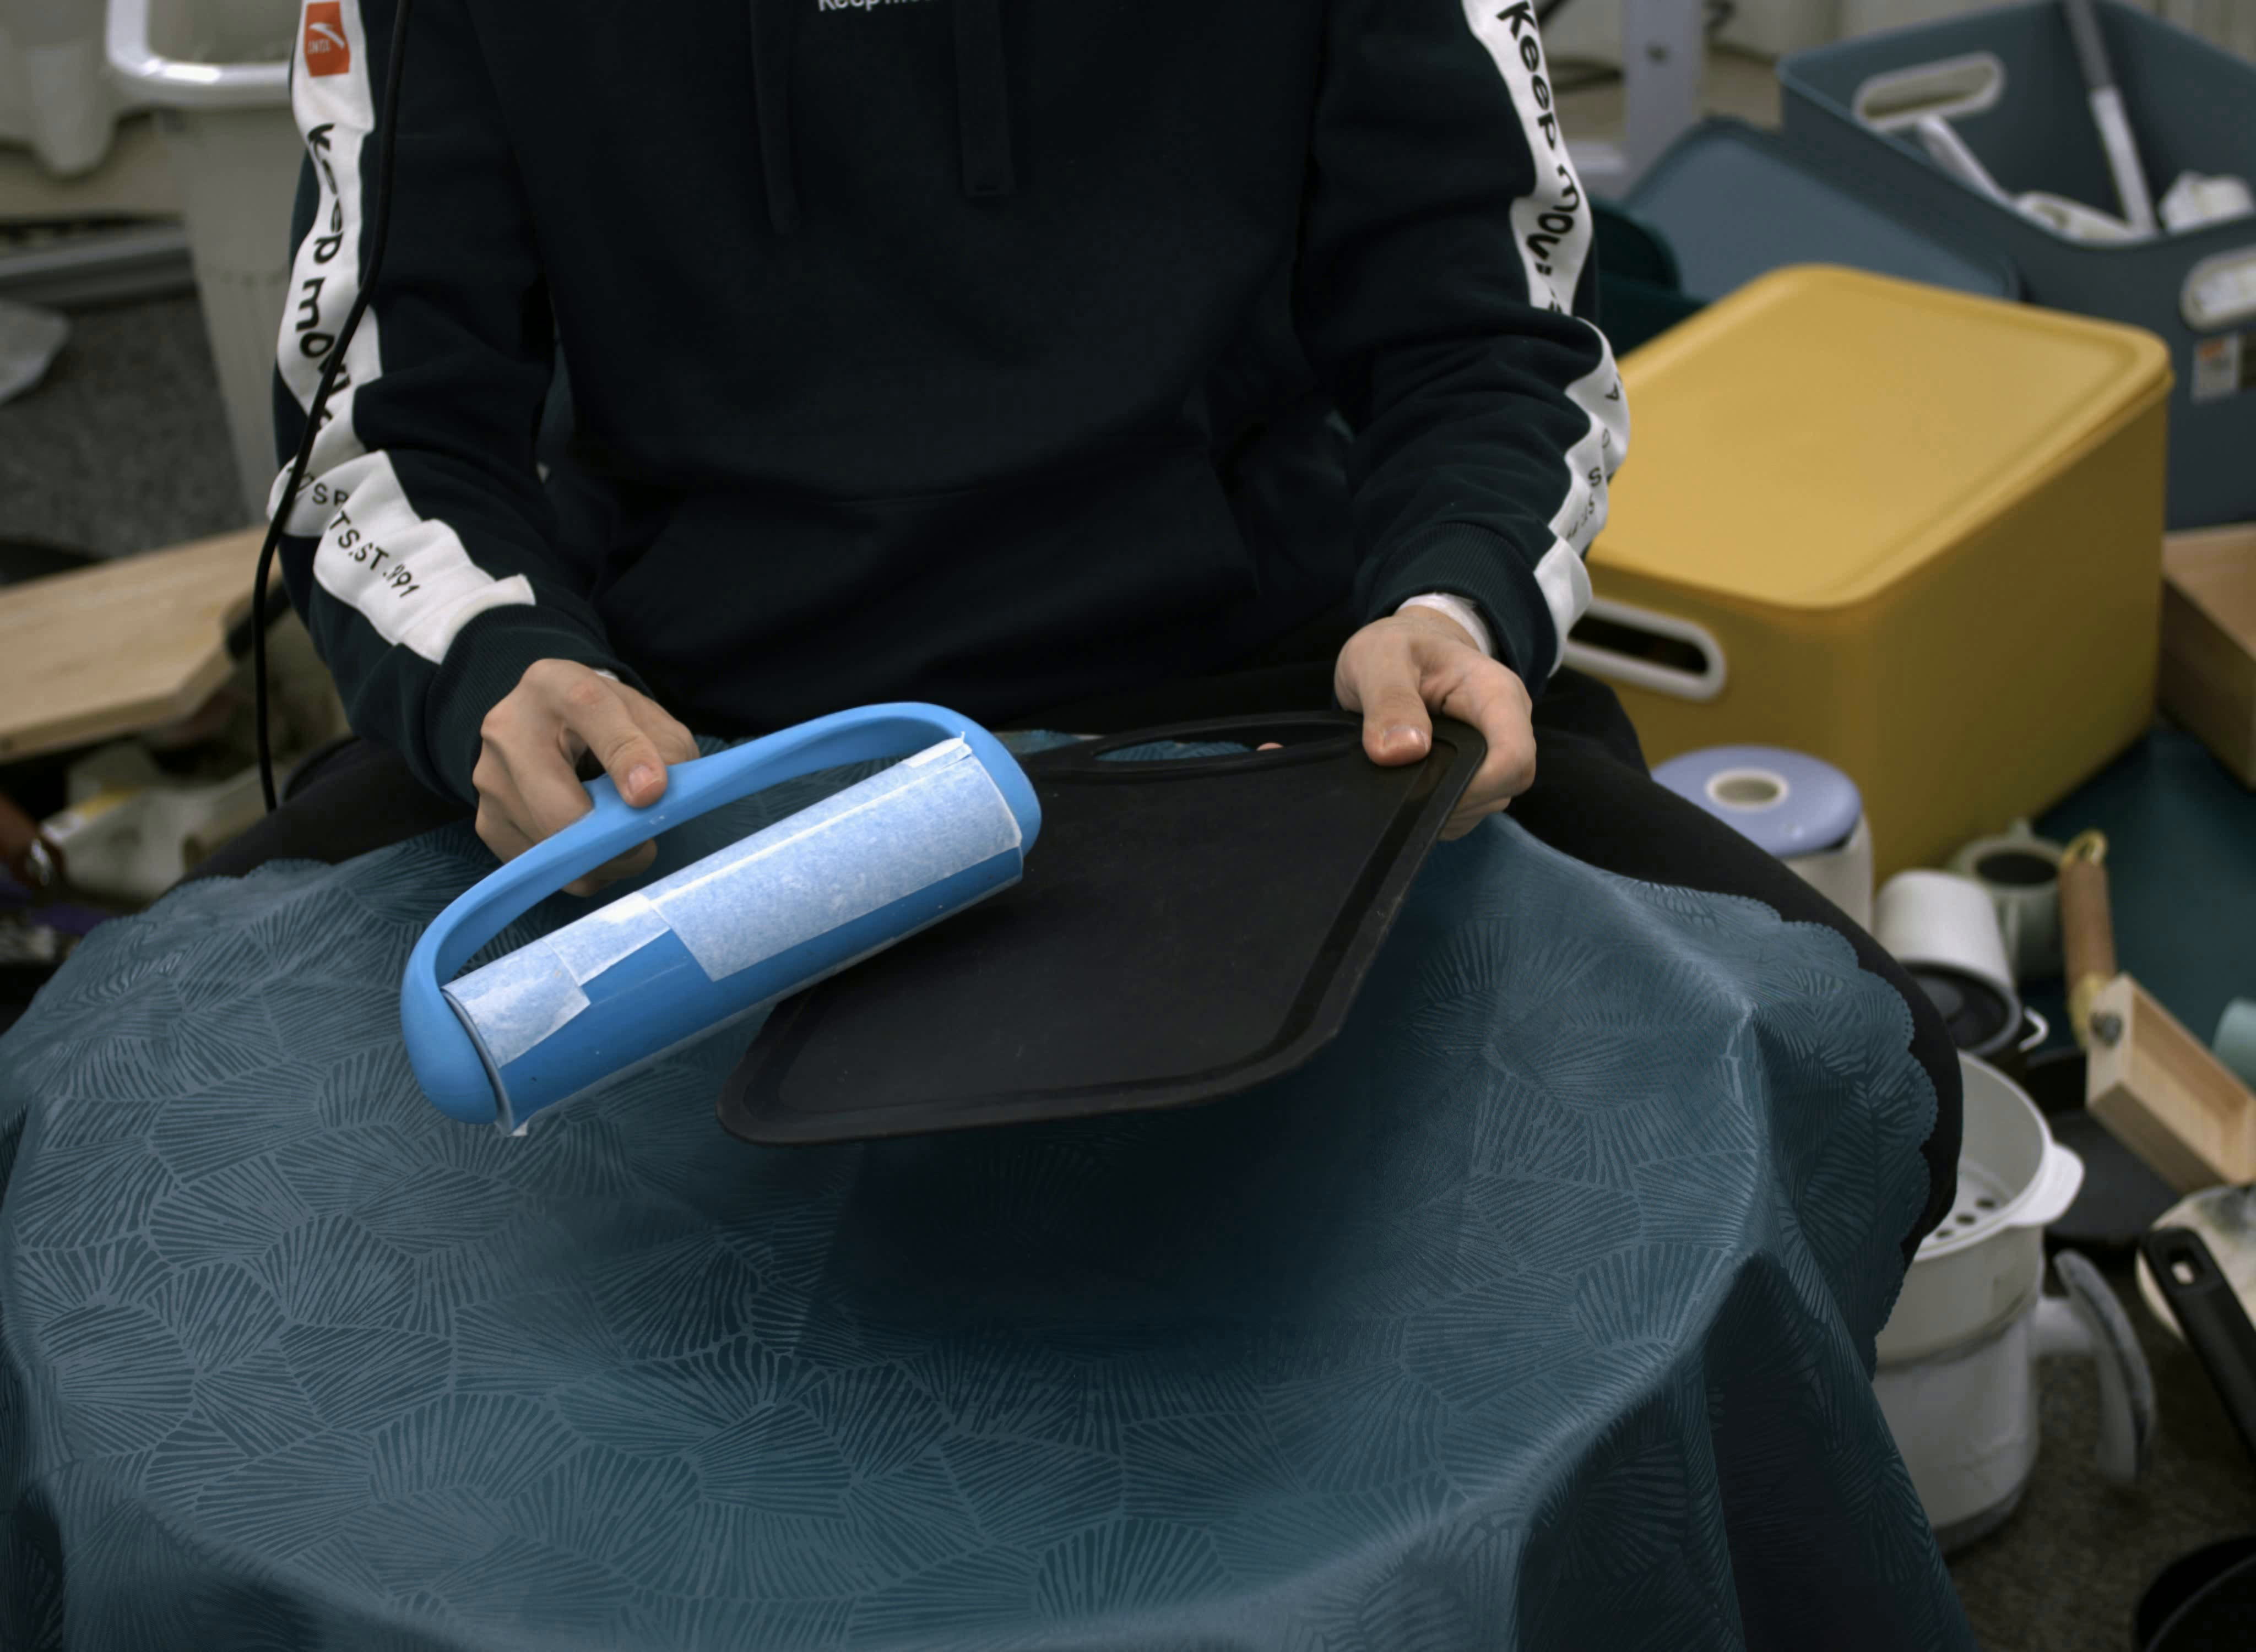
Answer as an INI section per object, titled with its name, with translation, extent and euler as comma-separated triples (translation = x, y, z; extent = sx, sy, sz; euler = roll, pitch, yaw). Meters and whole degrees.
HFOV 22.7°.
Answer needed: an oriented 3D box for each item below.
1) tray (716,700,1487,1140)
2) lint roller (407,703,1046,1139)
[tray]
translation = -0.002, 0.024, 1.865
extent = 0.209, 0.010, 0.330
euler = -6, 22, 19
[lint roller]
translation = -0.158, 0.015, 1.883
extent = 0.230, 0.067, 0.181
euler = -29, 33, -20
